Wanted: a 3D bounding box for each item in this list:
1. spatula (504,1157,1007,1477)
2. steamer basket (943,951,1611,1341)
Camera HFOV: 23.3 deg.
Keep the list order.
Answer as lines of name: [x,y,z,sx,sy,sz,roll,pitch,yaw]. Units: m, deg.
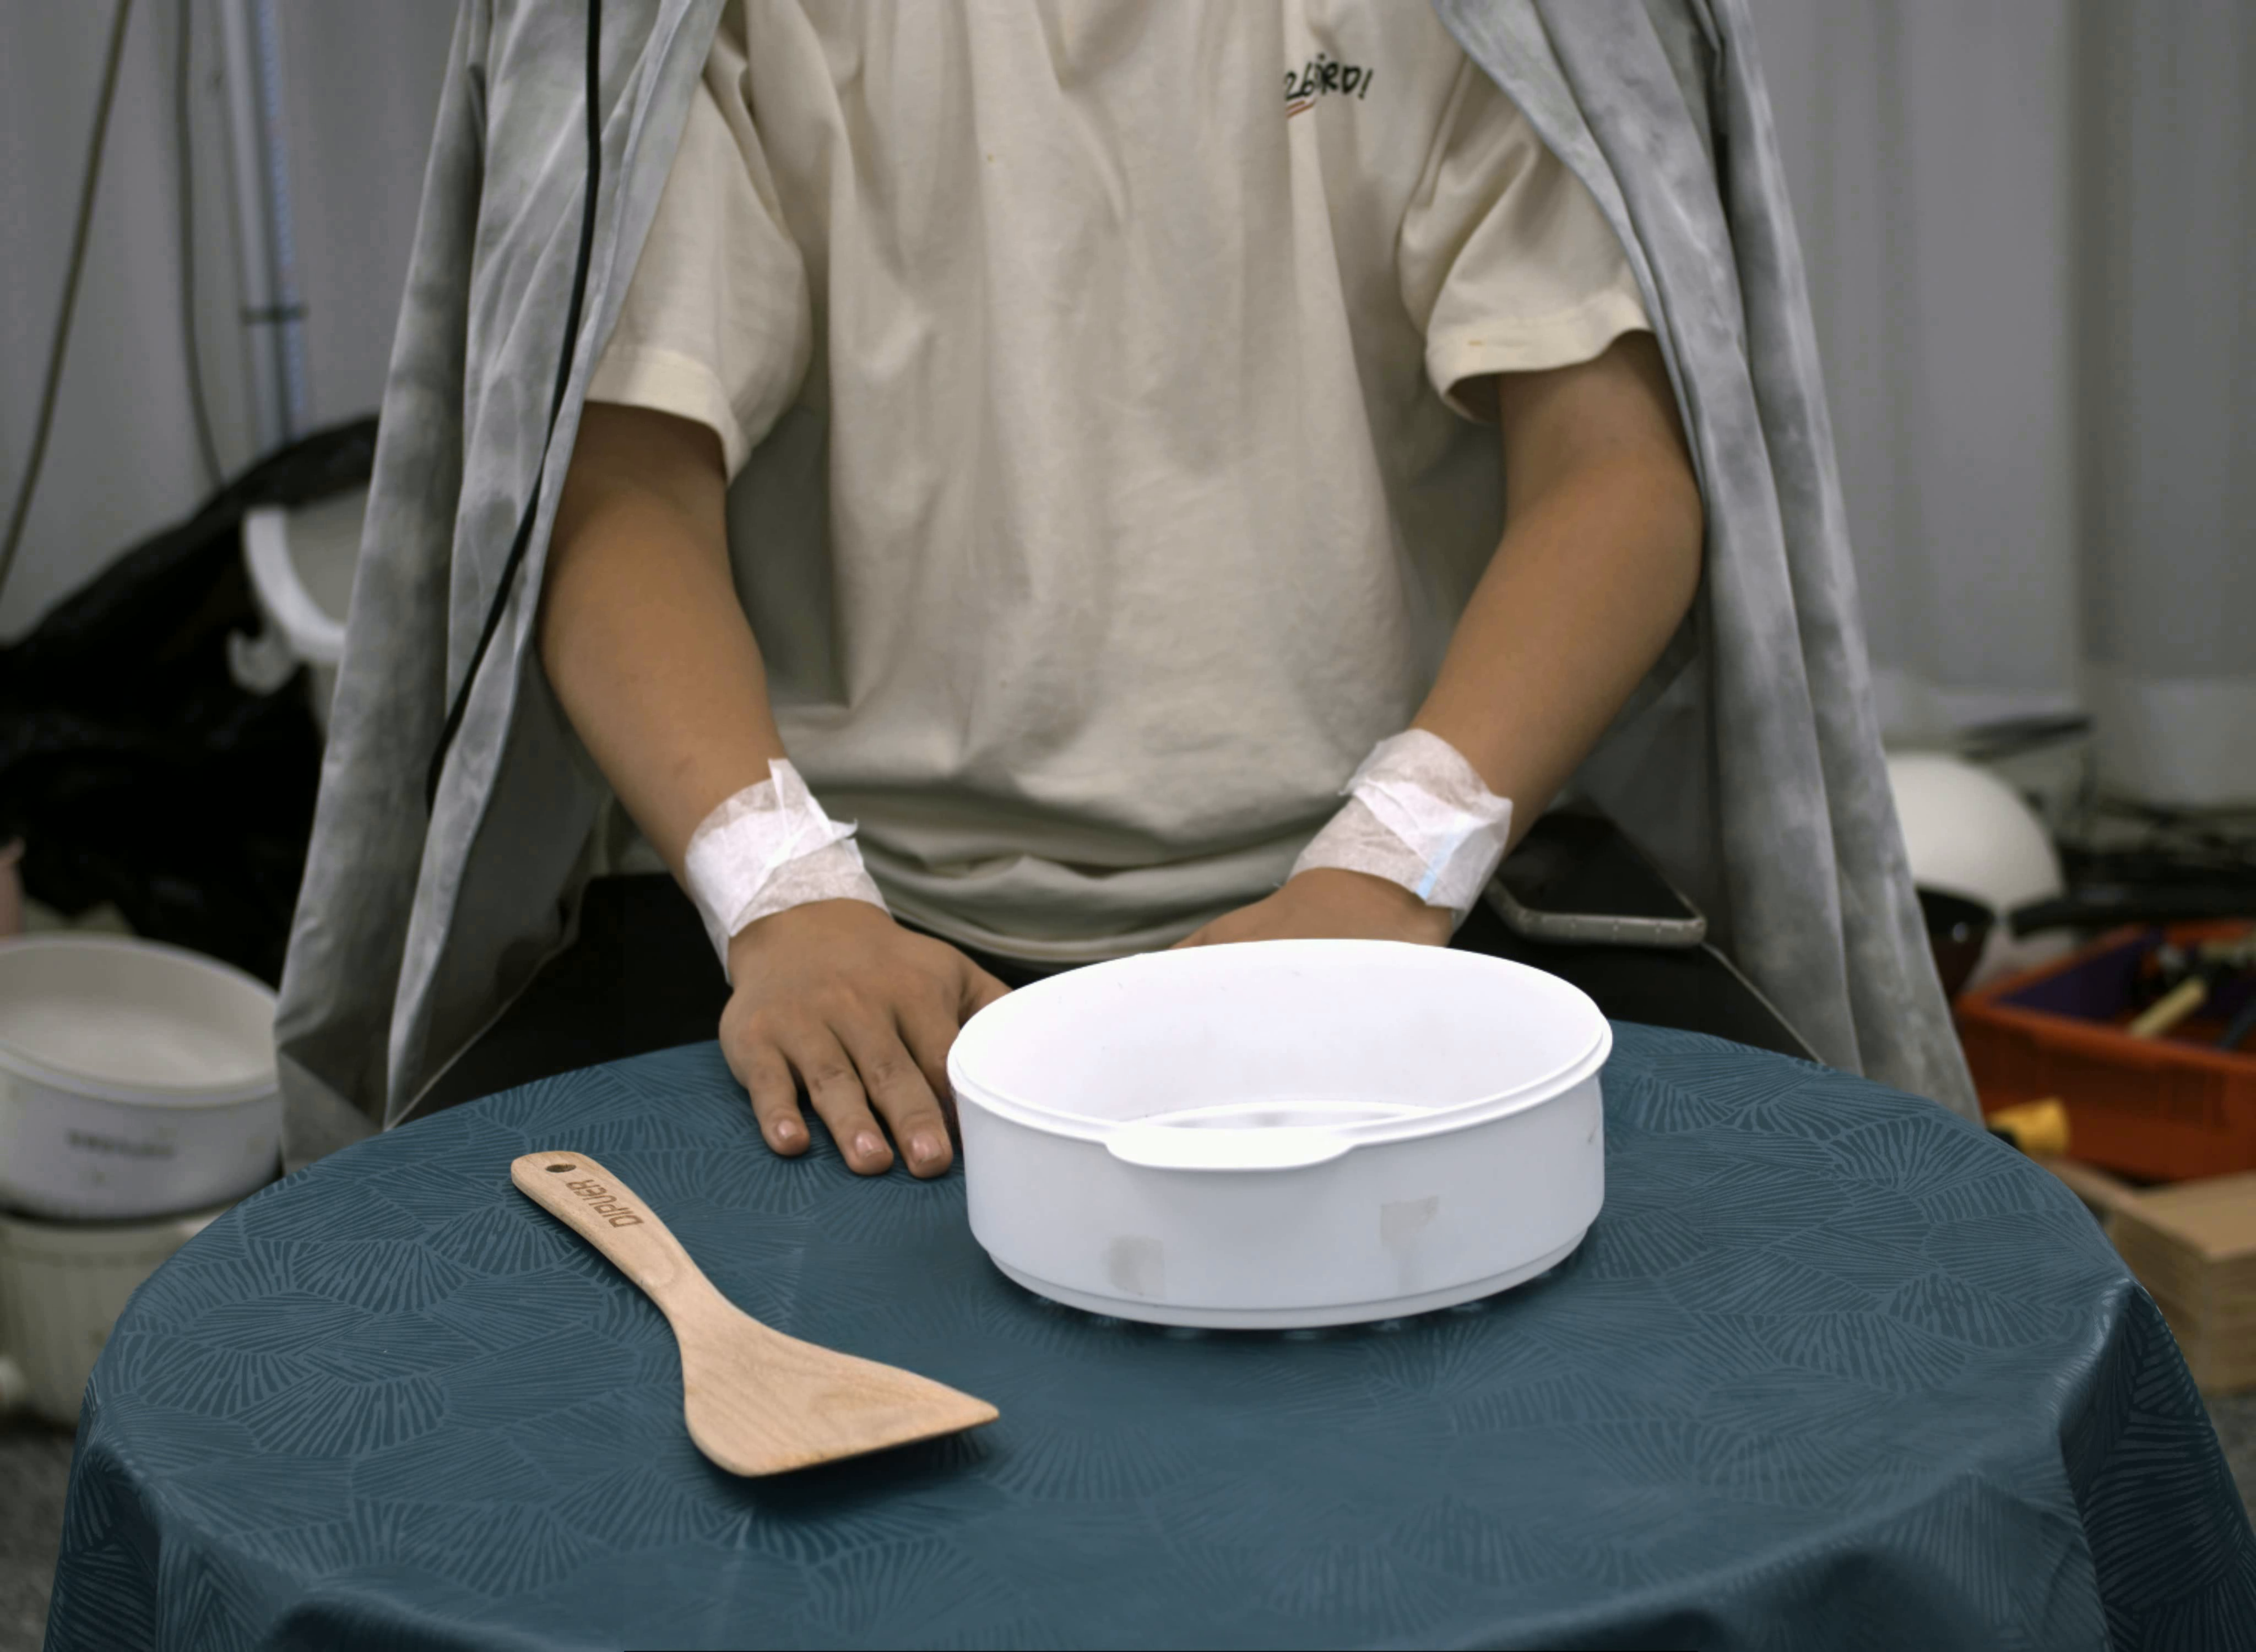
spatula: [-0.126,0.140,1.615,0.079,0.016,0.330,-8,15,-22]
steamer basket: [0.045,0.096,1.654,0.201,0.069,0.231,2,15,11]
